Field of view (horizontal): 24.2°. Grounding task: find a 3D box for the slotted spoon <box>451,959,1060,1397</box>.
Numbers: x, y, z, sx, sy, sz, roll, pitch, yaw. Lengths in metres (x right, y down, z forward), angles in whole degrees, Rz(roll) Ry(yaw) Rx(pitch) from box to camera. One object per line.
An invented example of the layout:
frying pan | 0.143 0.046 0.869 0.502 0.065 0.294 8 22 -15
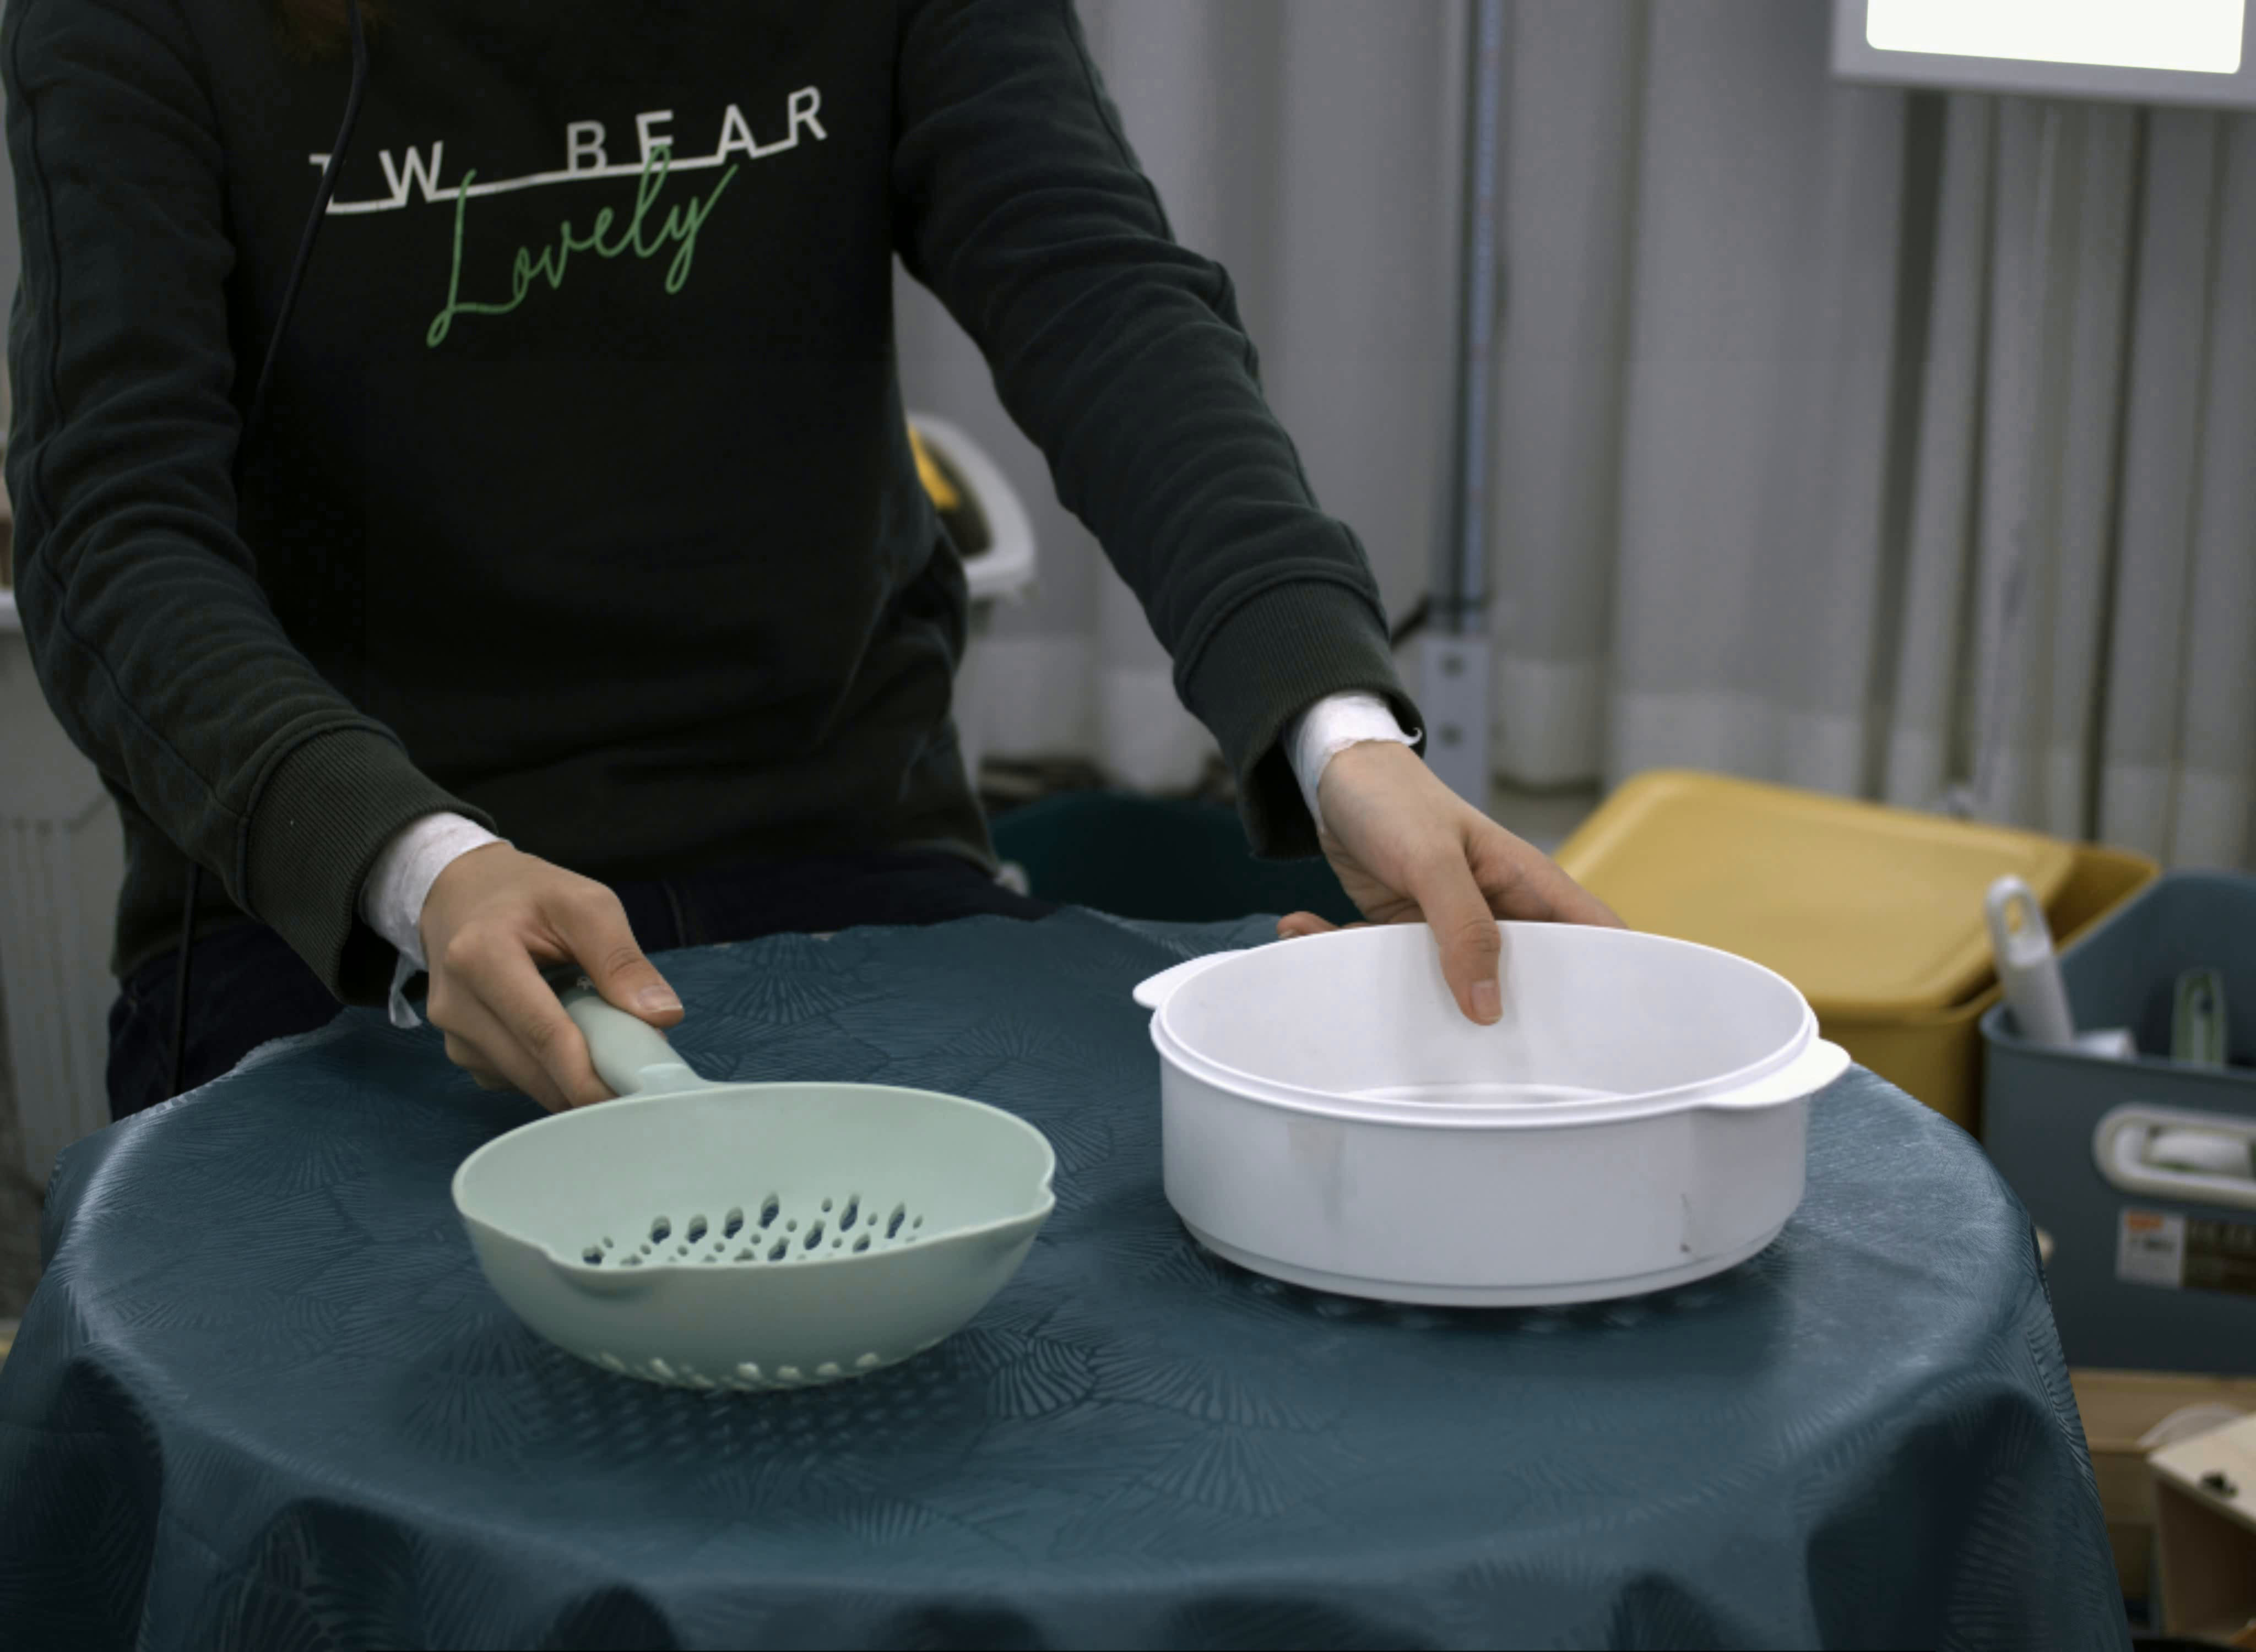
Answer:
slotted spoon | -0.134 0.087 1.560 0.170 0.076 0.354 -5 22 -18

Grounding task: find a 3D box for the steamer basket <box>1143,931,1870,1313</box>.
steamer basket | 0.111 0.089 1.588 0.228 0.070 0.202 9 17 32
